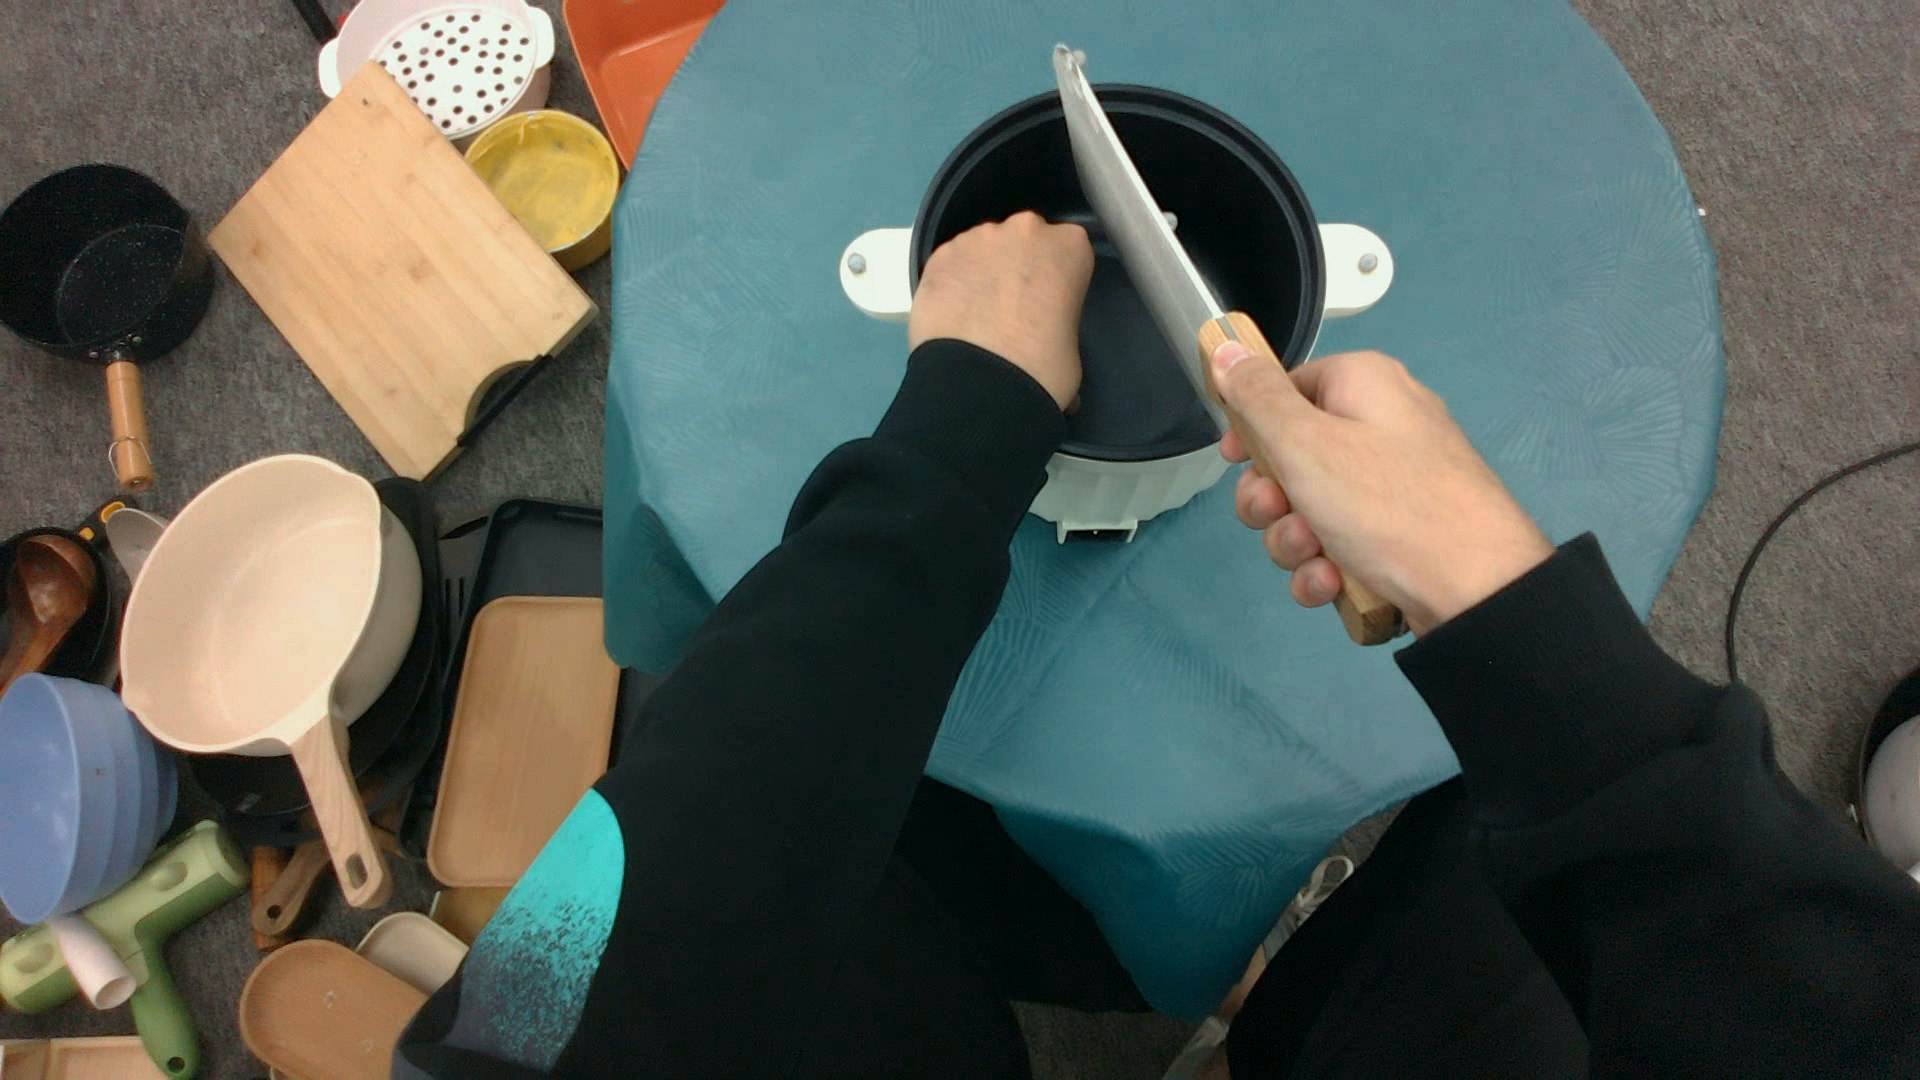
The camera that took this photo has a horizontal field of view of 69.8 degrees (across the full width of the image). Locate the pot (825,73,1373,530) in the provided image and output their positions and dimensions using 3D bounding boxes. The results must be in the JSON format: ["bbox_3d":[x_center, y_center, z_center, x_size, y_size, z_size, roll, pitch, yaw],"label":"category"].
[{"bbox_3d":[0.059,-0.111,0.660,0.240,0.142,0.191,-1,76,-3],"label":"pot"}]

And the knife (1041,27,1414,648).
[{"bbox_3d":[0.088,-0.086,0.529,0.022,0.113,0.316,-23,51,1],"label":"knife"}]
